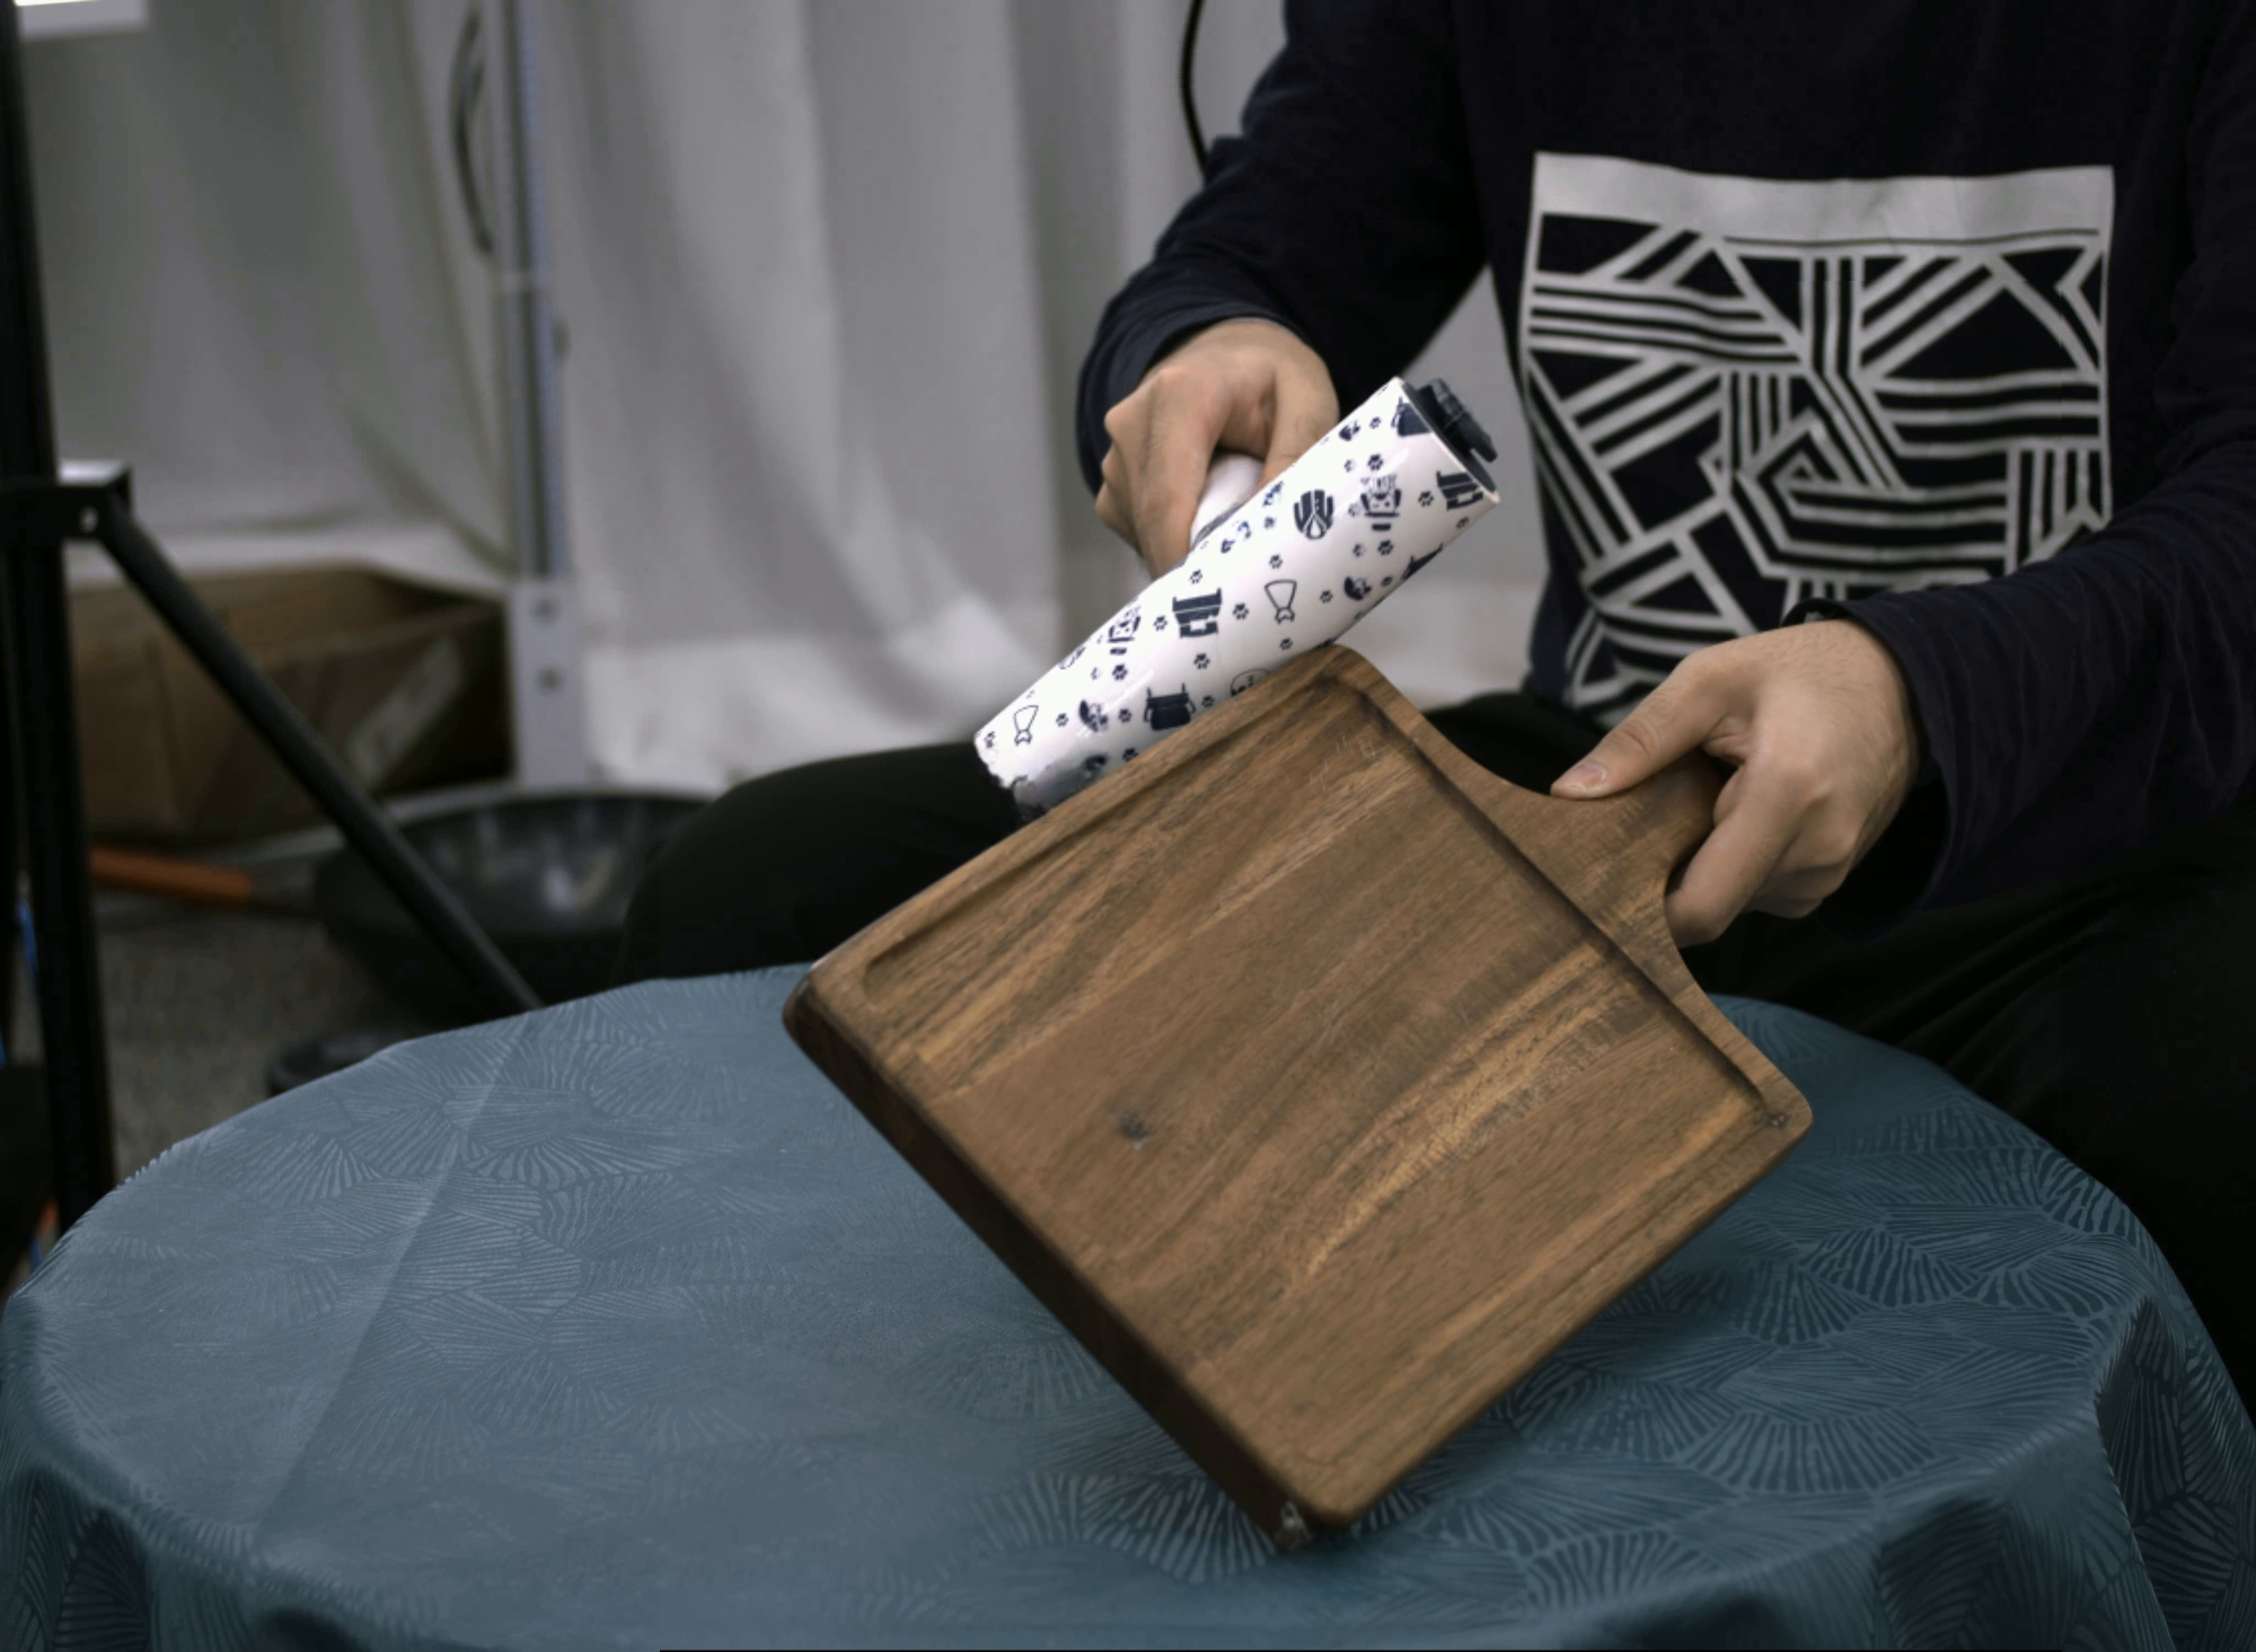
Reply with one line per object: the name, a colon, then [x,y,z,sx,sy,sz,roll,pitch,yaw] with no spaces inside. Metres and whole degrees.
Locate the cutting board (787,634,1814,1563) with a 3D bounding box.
cutting board: [0.080,0.045,1.434,0.203,0.023,0.346,44,42,12]

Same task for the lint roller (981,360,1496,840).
lint roller: [0.031,-0.084,1.612,0.177,0.050,0.248,-42,10,9]
